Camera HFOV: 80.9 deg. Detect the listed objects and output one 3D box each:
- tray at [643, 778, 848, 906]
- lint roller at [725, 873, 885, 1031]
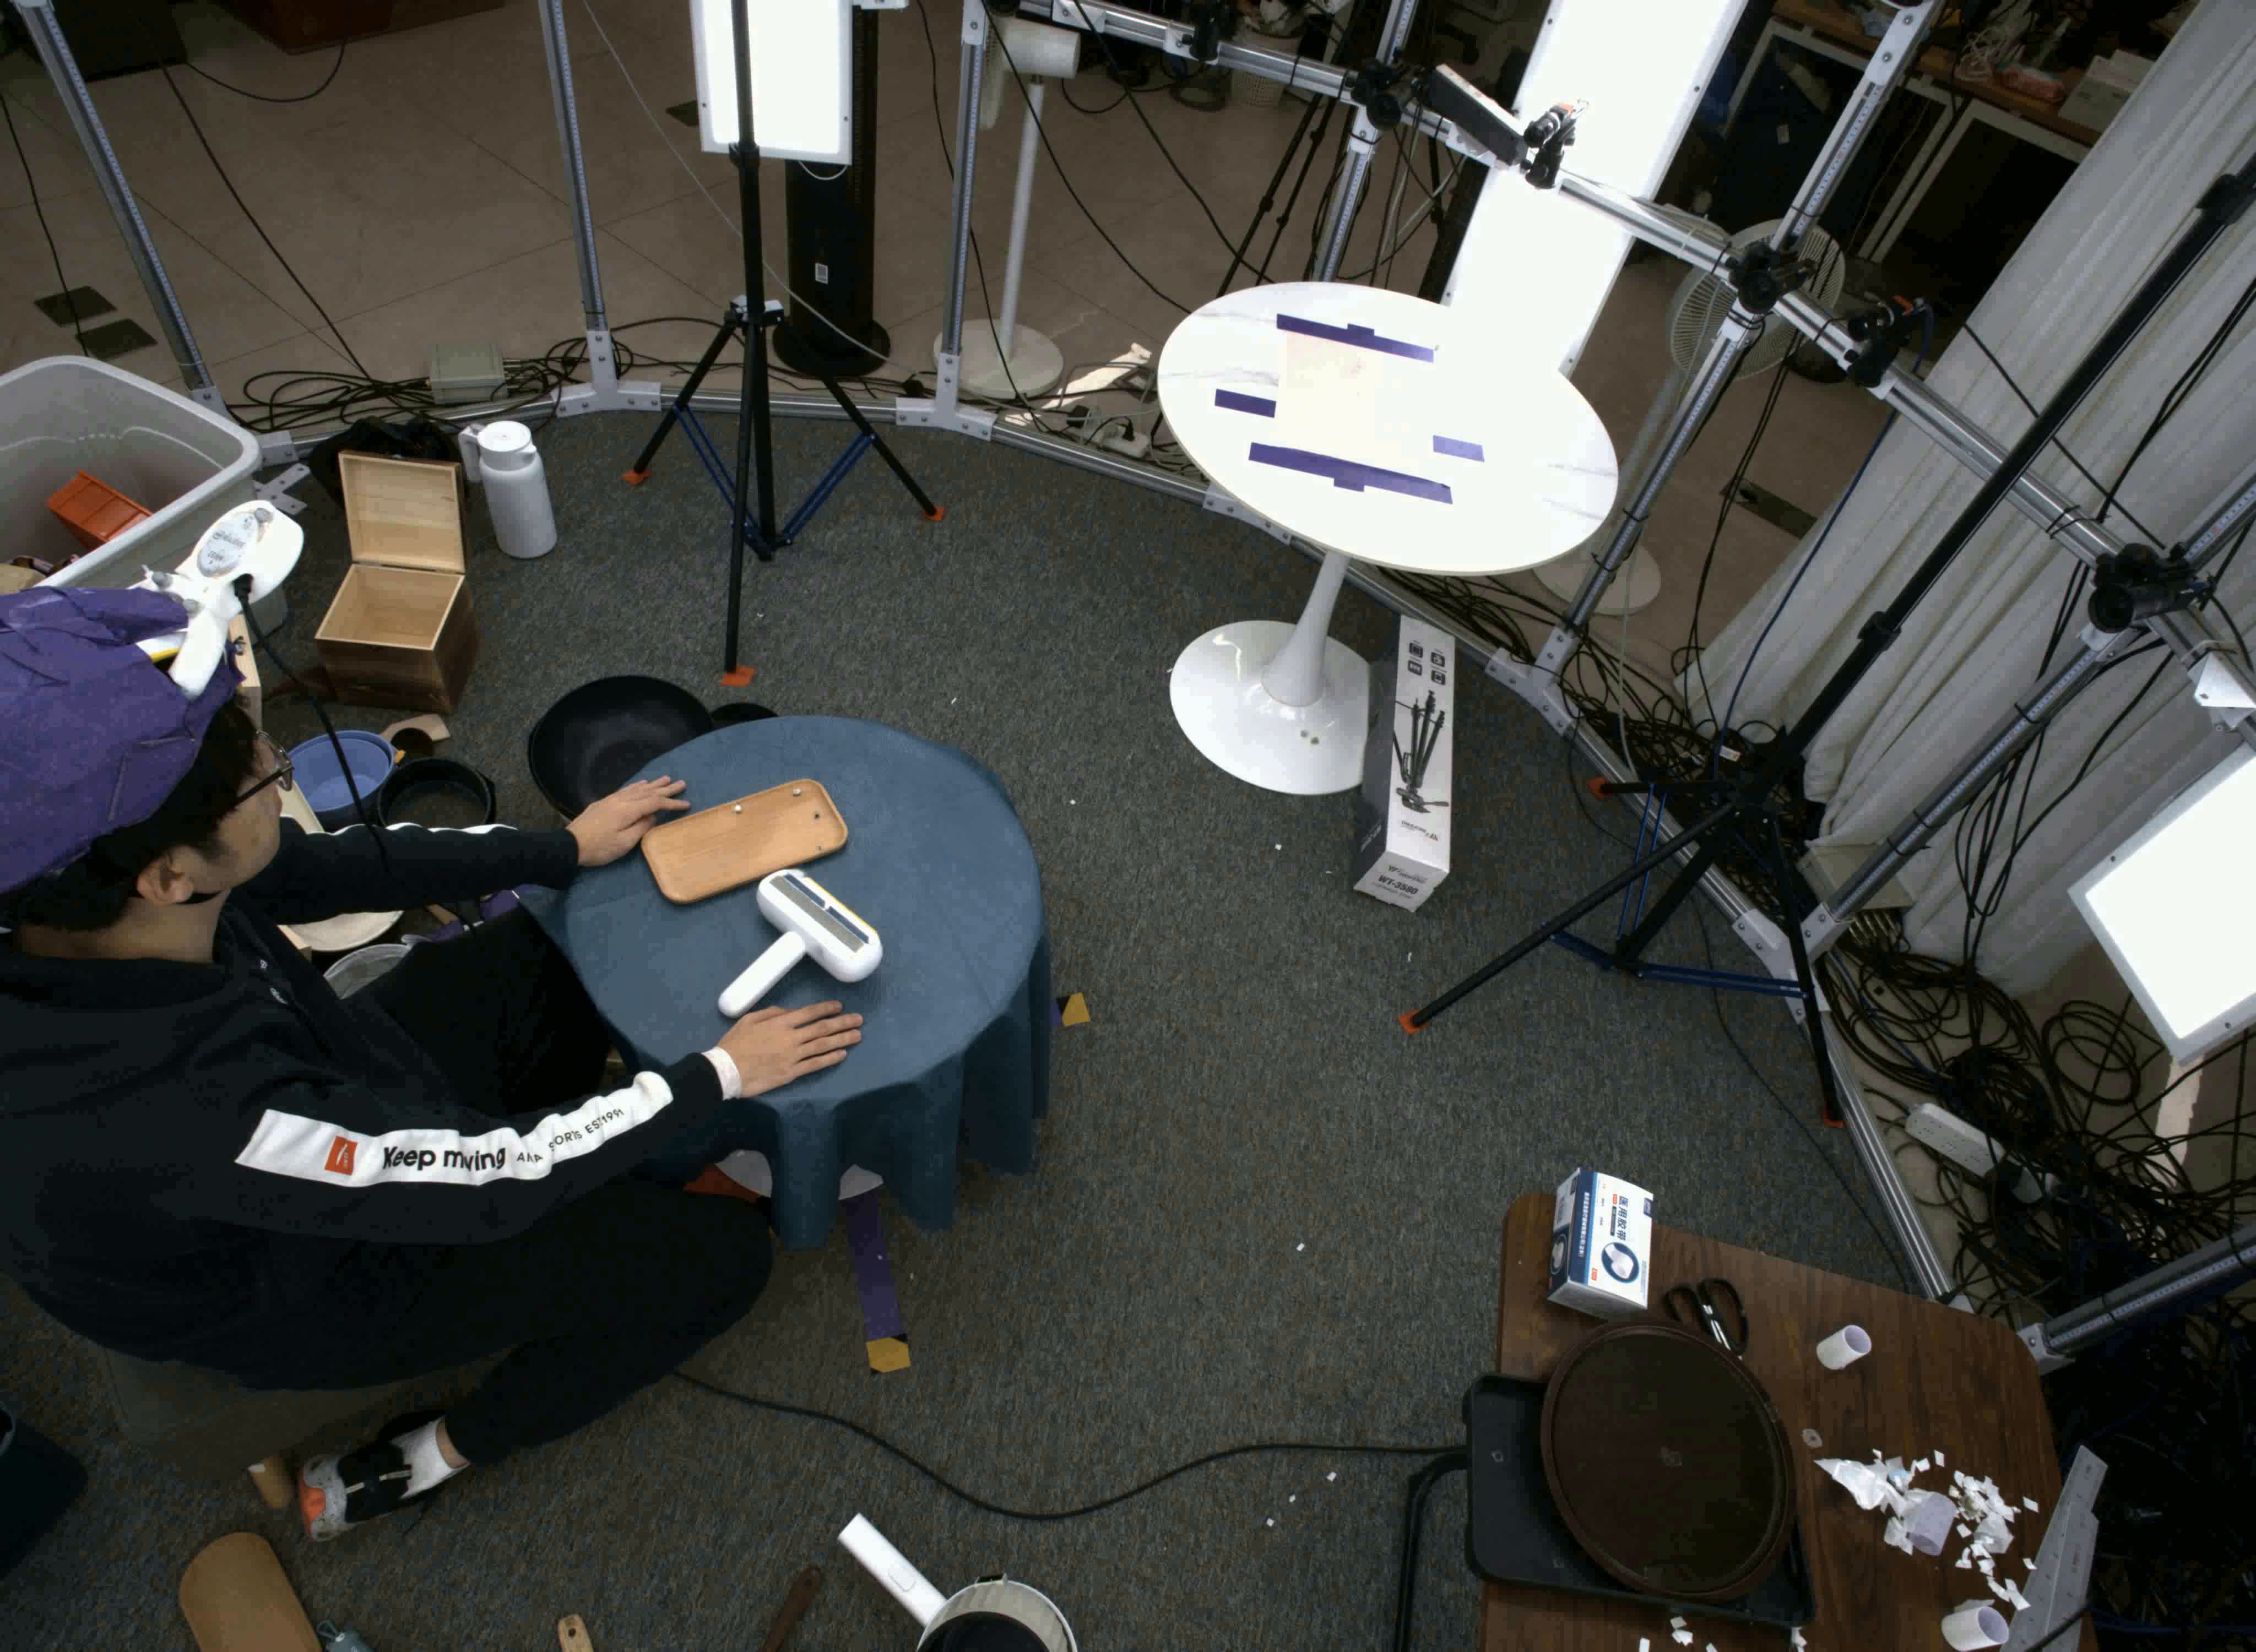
[{"bbox_3d":[-0.498,0.018,1.687,0.252,0.023,0.127,-21,60,-27],"label":"tray"},{"bbox_3d":[-0.417,0.168,1.588,0.192,0.076,0.187,-40,64,-19],"label":"lint roller"}]
